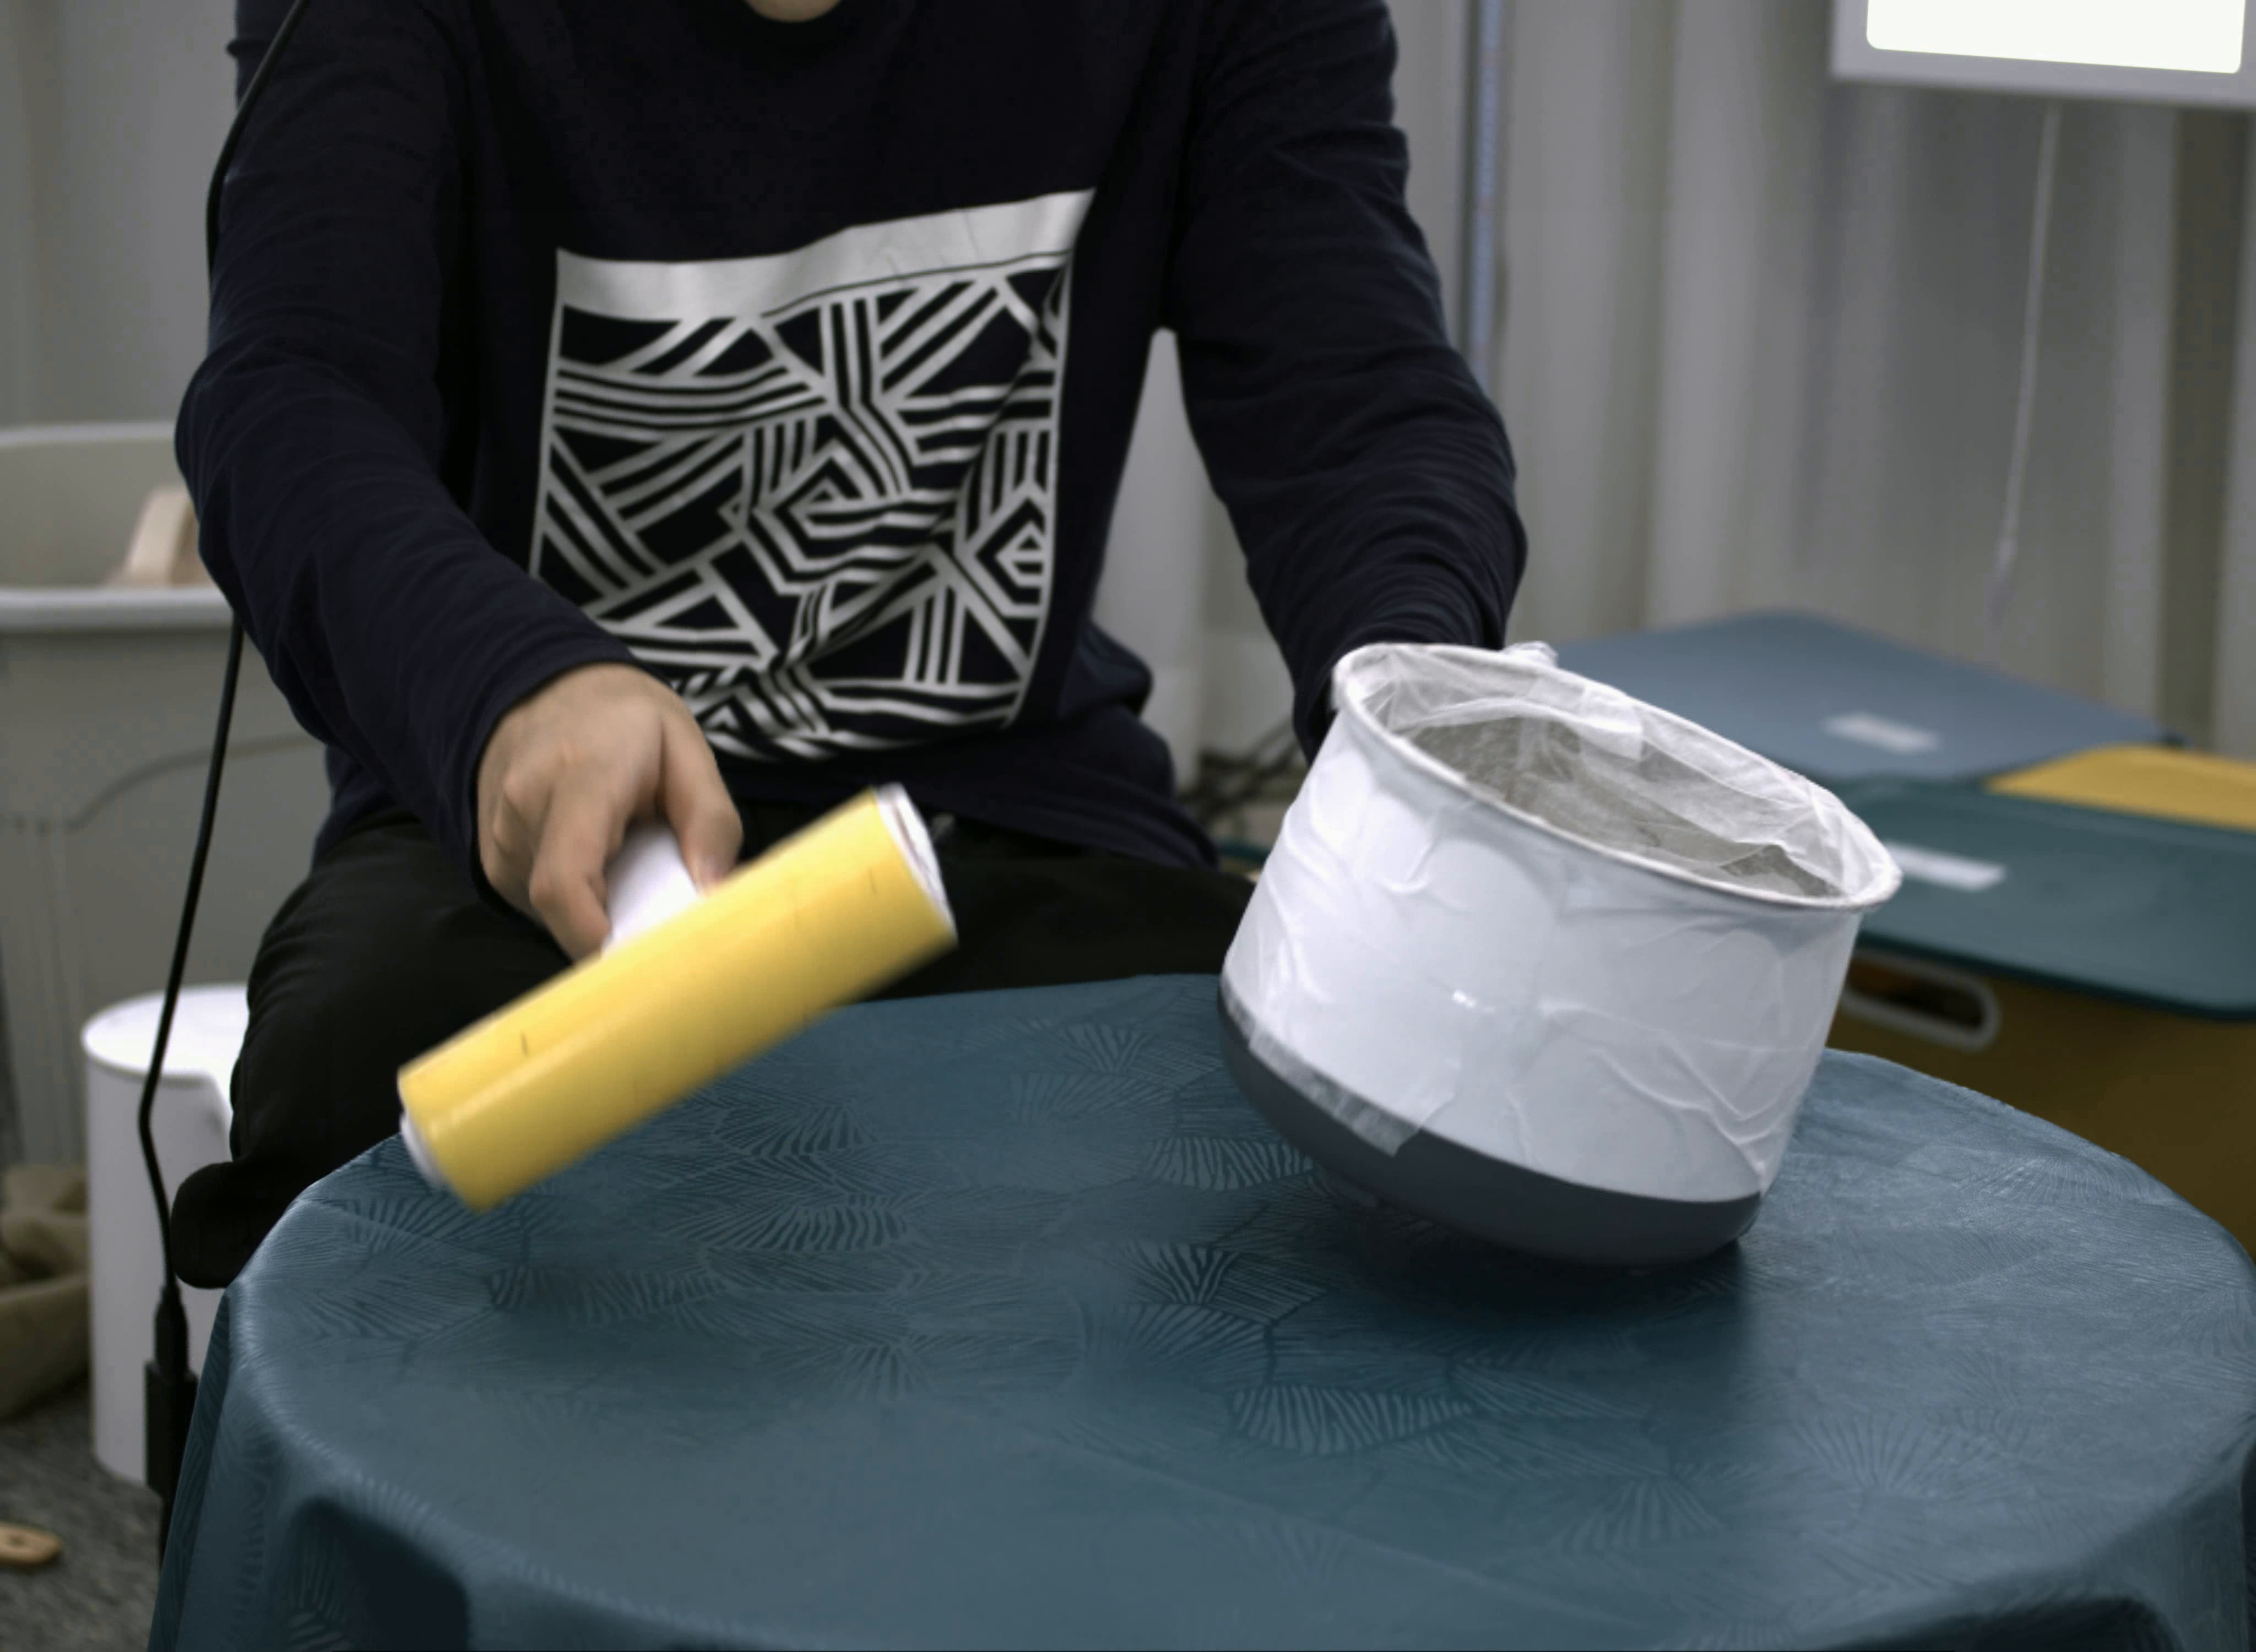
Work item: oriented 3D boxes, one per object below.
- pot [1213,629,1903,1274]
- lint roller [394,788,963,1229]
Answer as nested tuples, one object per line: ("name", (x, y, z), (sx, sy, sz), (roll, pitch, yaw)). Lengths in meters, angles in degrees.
("pot", (0.117, 0.028, 1.582), (0.179, 0.137, 0.231), (16, 19, -19))
("lint roller", (-0.148, 0.024, 1.570), (0.174, 0.052, 0.189), (-30, 34, 0))
